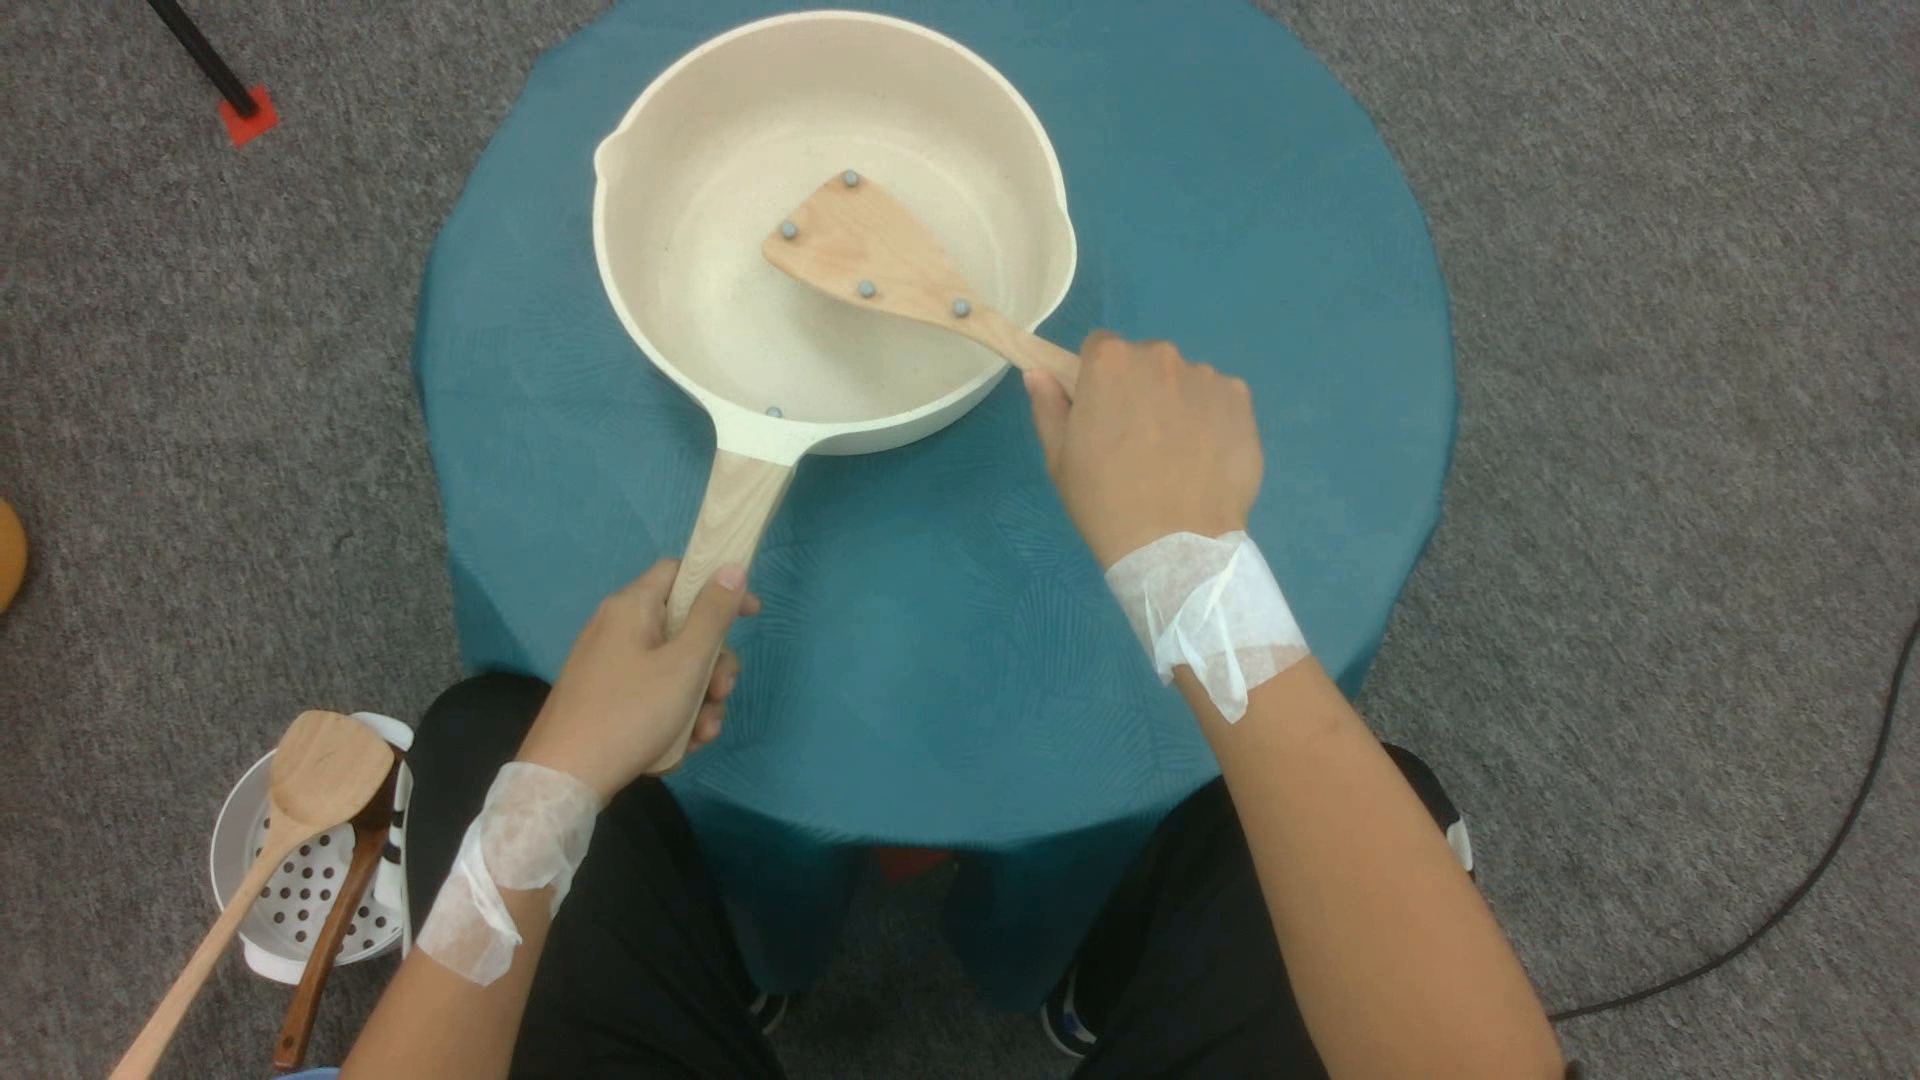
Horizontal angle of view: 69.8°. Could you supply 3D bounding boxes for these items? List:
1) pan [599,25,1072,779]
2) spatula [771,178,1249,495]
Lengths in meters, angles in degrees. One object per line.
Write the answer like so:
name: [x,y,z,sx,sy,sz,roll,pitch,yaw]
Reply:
pan: [-0.092,-0.079,0.750,0.263,0.101,0.436,14,72,1]
spatula: [0.017,-0.106,0.692,0.080,0.016,0.328,-38,50,-18]
